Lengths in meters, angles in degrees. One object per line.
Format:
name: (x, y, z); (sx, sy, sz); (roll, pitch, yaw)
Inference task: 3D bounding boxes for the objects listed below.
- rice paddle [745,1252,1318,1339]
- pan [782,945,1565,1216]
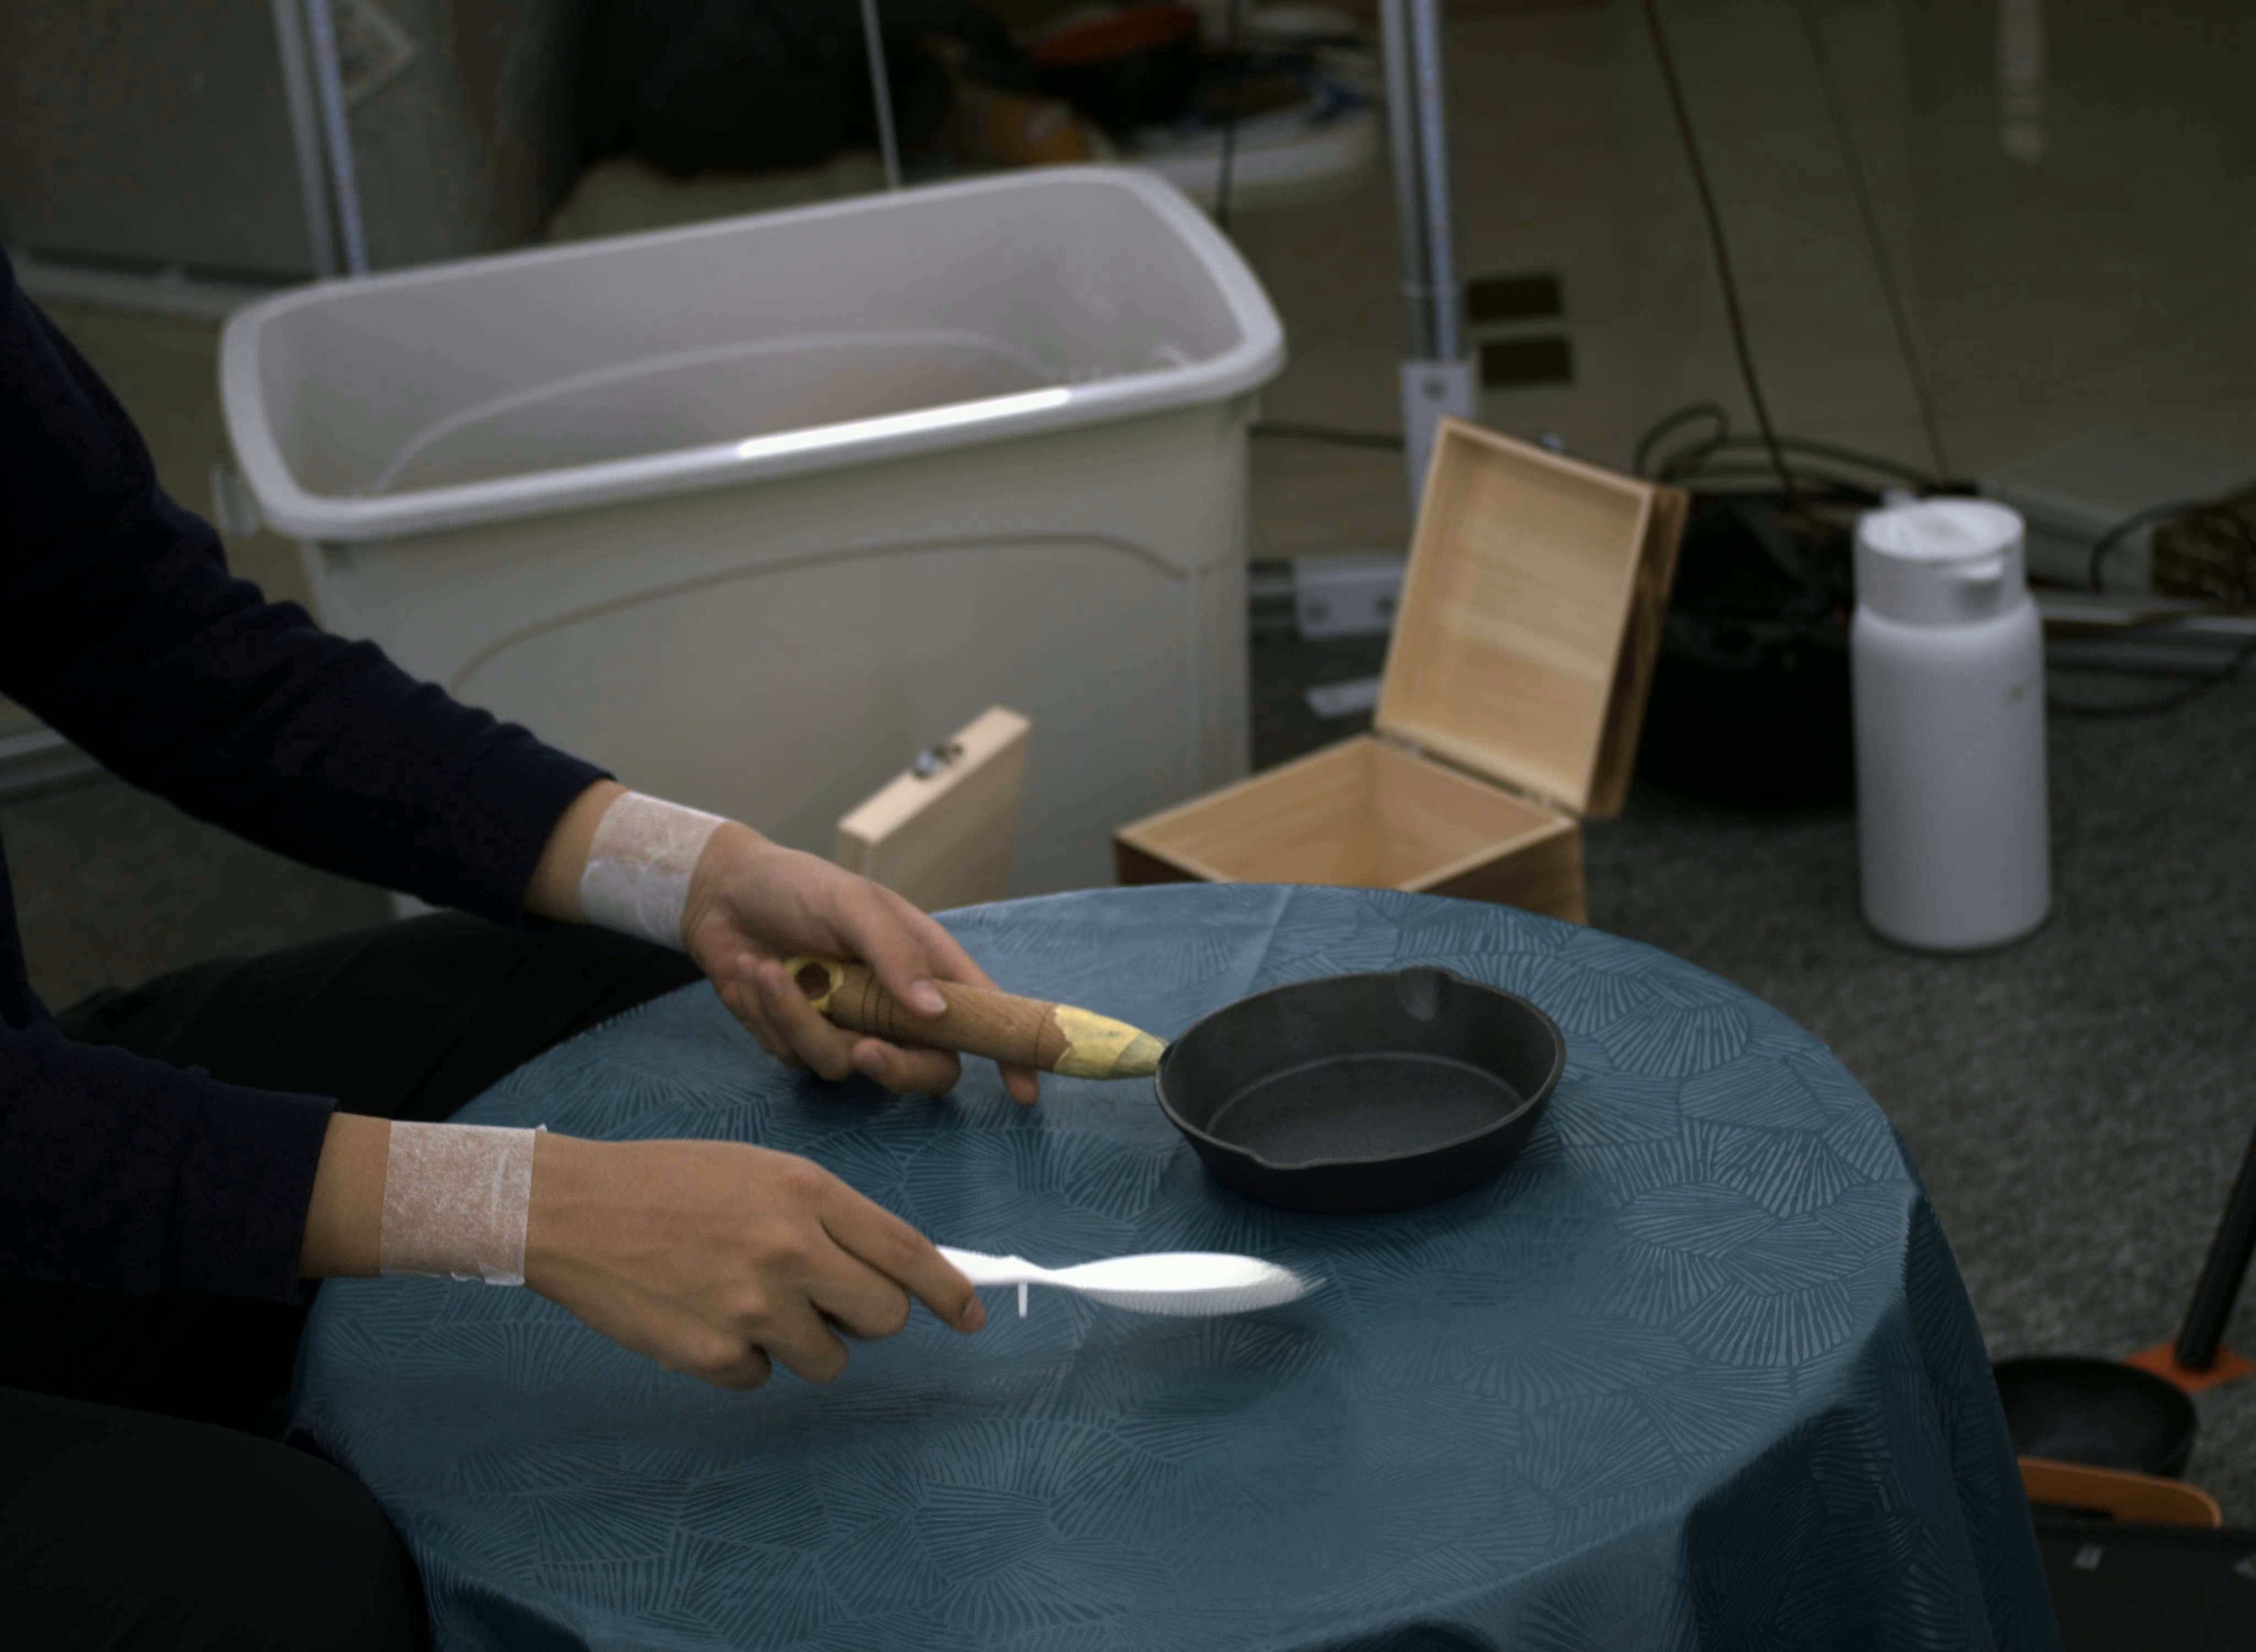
rice paddle: (-0.033, 0.163, 2.016); (0.205, 0.029, 0.068); (-1, 8, -9)
pan: (0.012, 0.089, 2.192); (0.323, 0.050, 0.167); (7, 29, 25)
